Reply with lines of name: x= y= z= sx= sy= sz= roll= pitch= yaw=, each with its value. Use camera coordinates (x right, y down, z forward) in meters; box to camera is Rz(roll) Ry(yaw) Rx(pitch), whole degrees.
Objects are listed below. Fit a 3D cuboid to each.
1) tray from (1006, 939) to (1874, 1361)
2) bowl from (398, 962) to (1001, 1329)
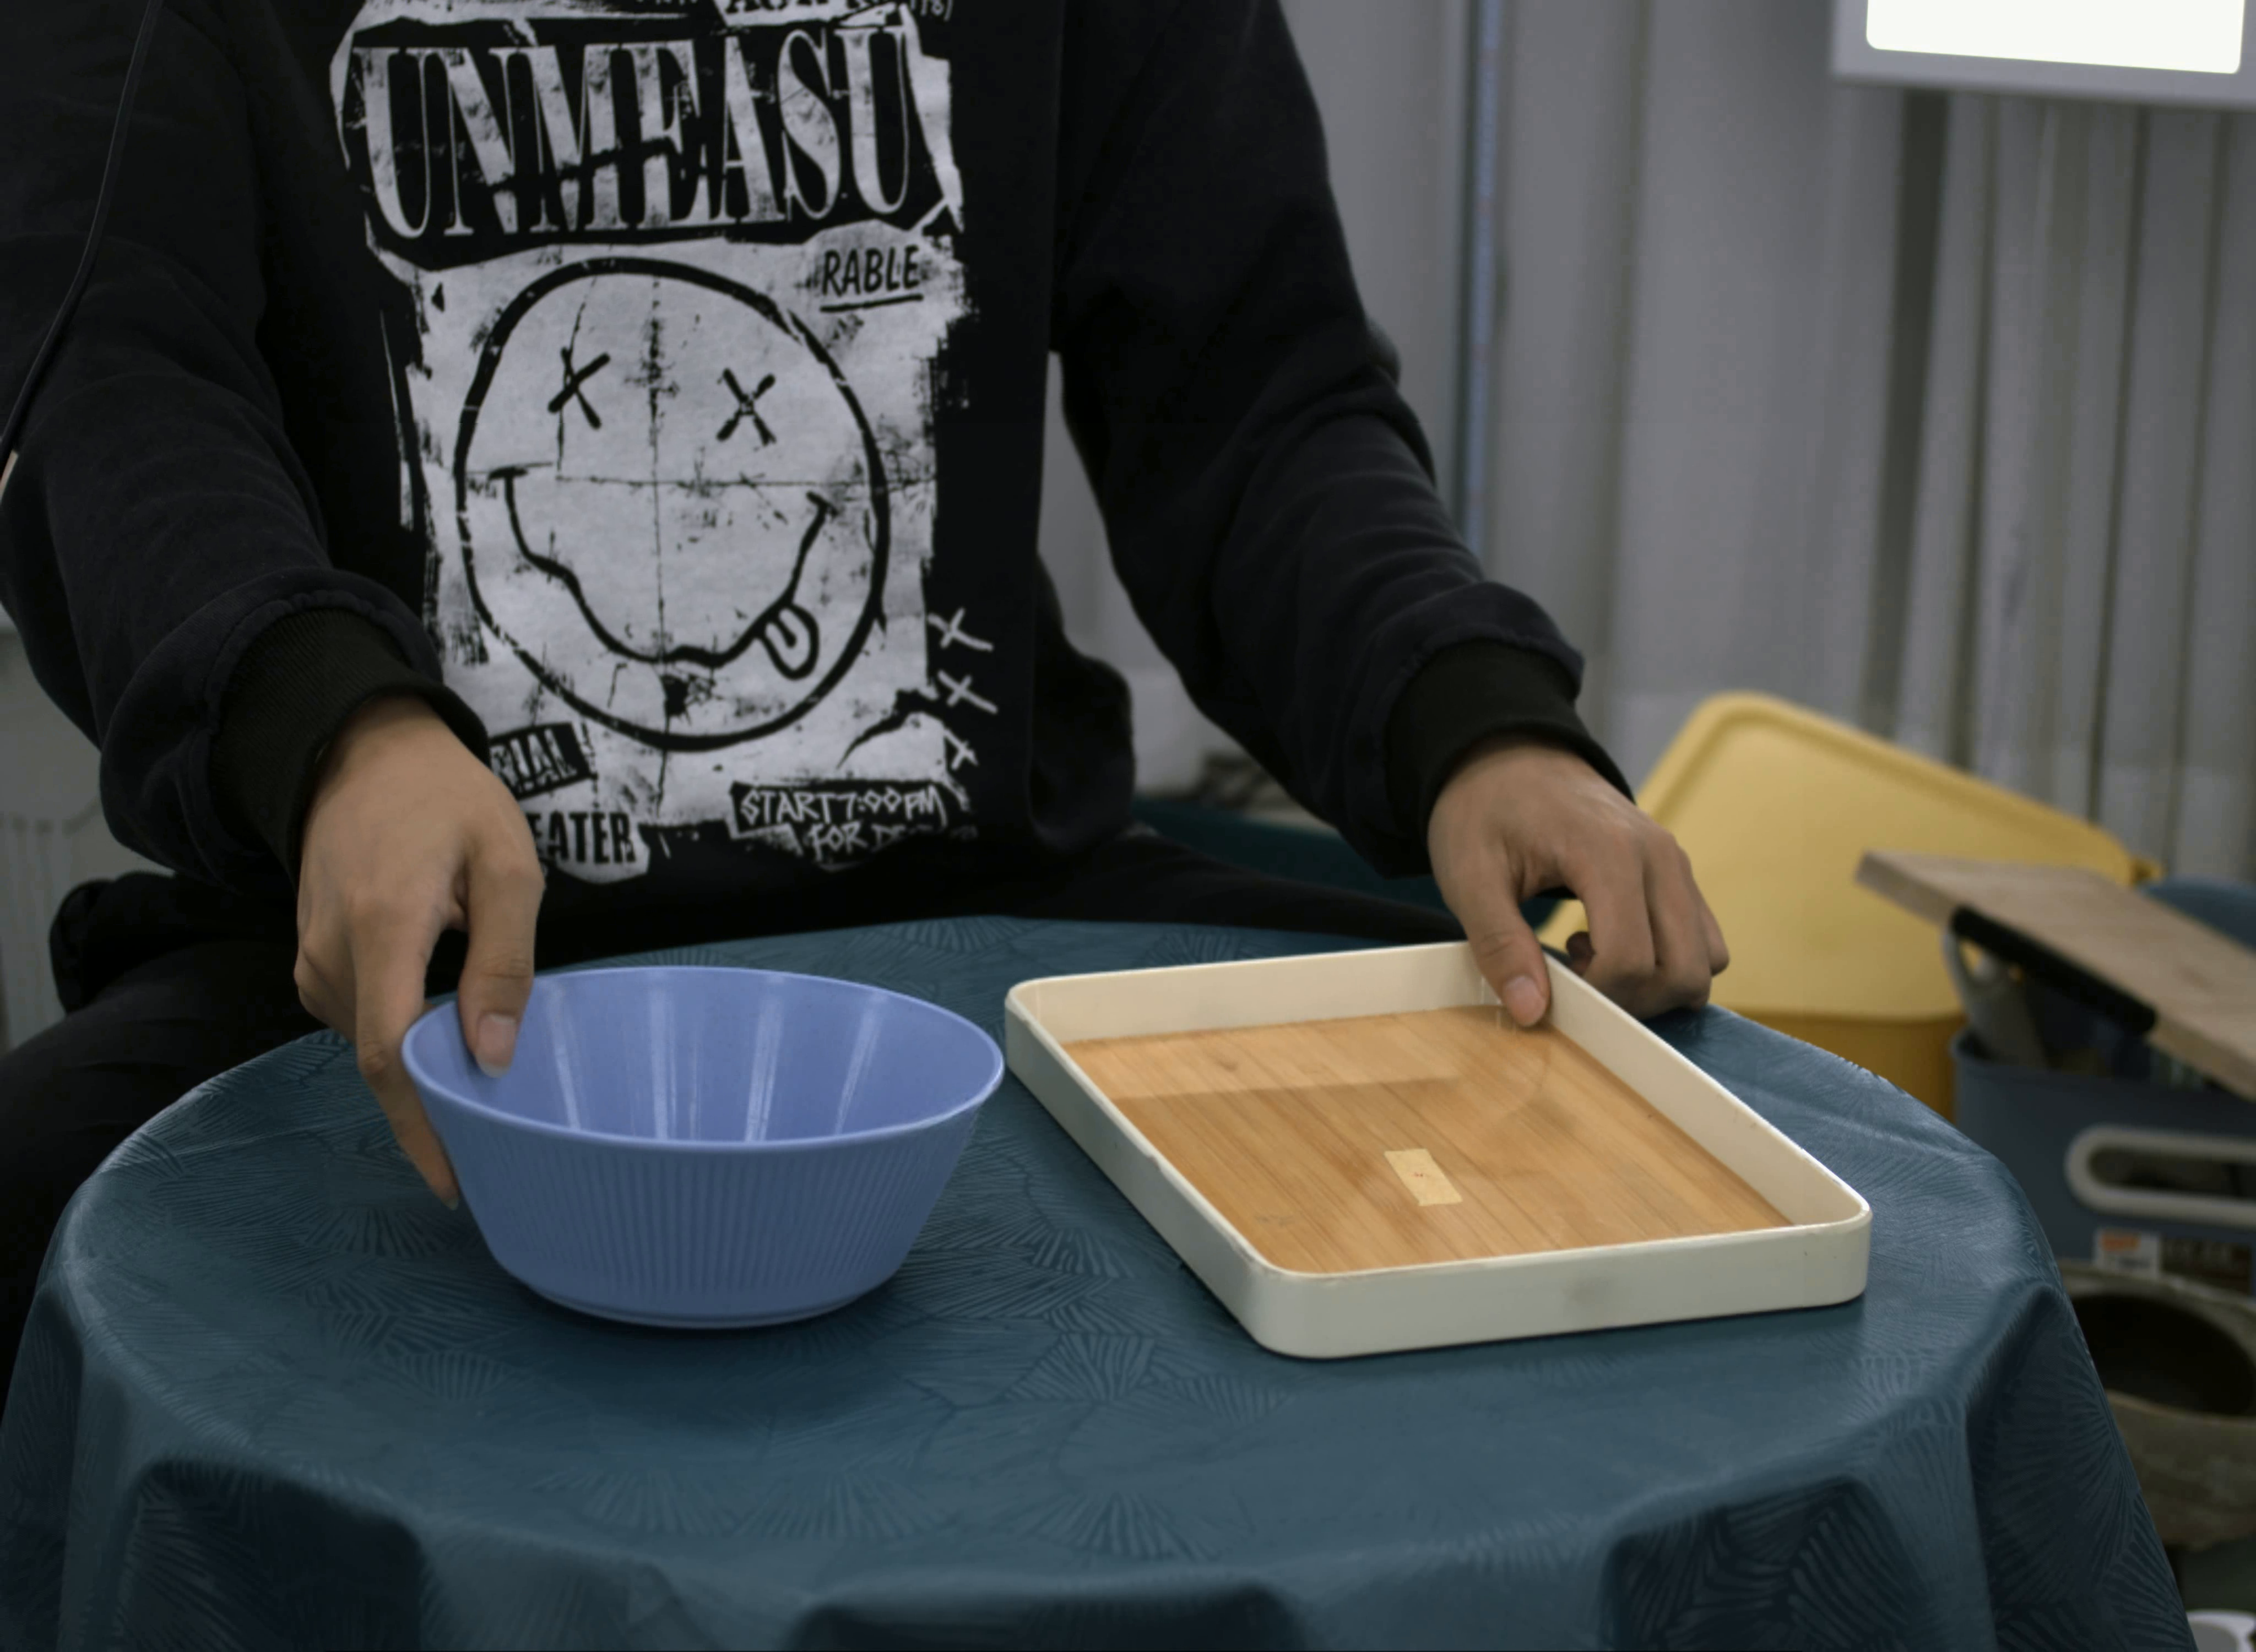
tray: x=0.089 y=0.096 z=1.642 sx=0.192 sy=0.027 sz=0.297 roll=-4 pitch=17 yaw=-17
bowl: x=-0.126 y=0.096 z=1.541 sx=0.175 sy=0.071 sz=0.175 roll=4 pitch=16 yaw=-1
